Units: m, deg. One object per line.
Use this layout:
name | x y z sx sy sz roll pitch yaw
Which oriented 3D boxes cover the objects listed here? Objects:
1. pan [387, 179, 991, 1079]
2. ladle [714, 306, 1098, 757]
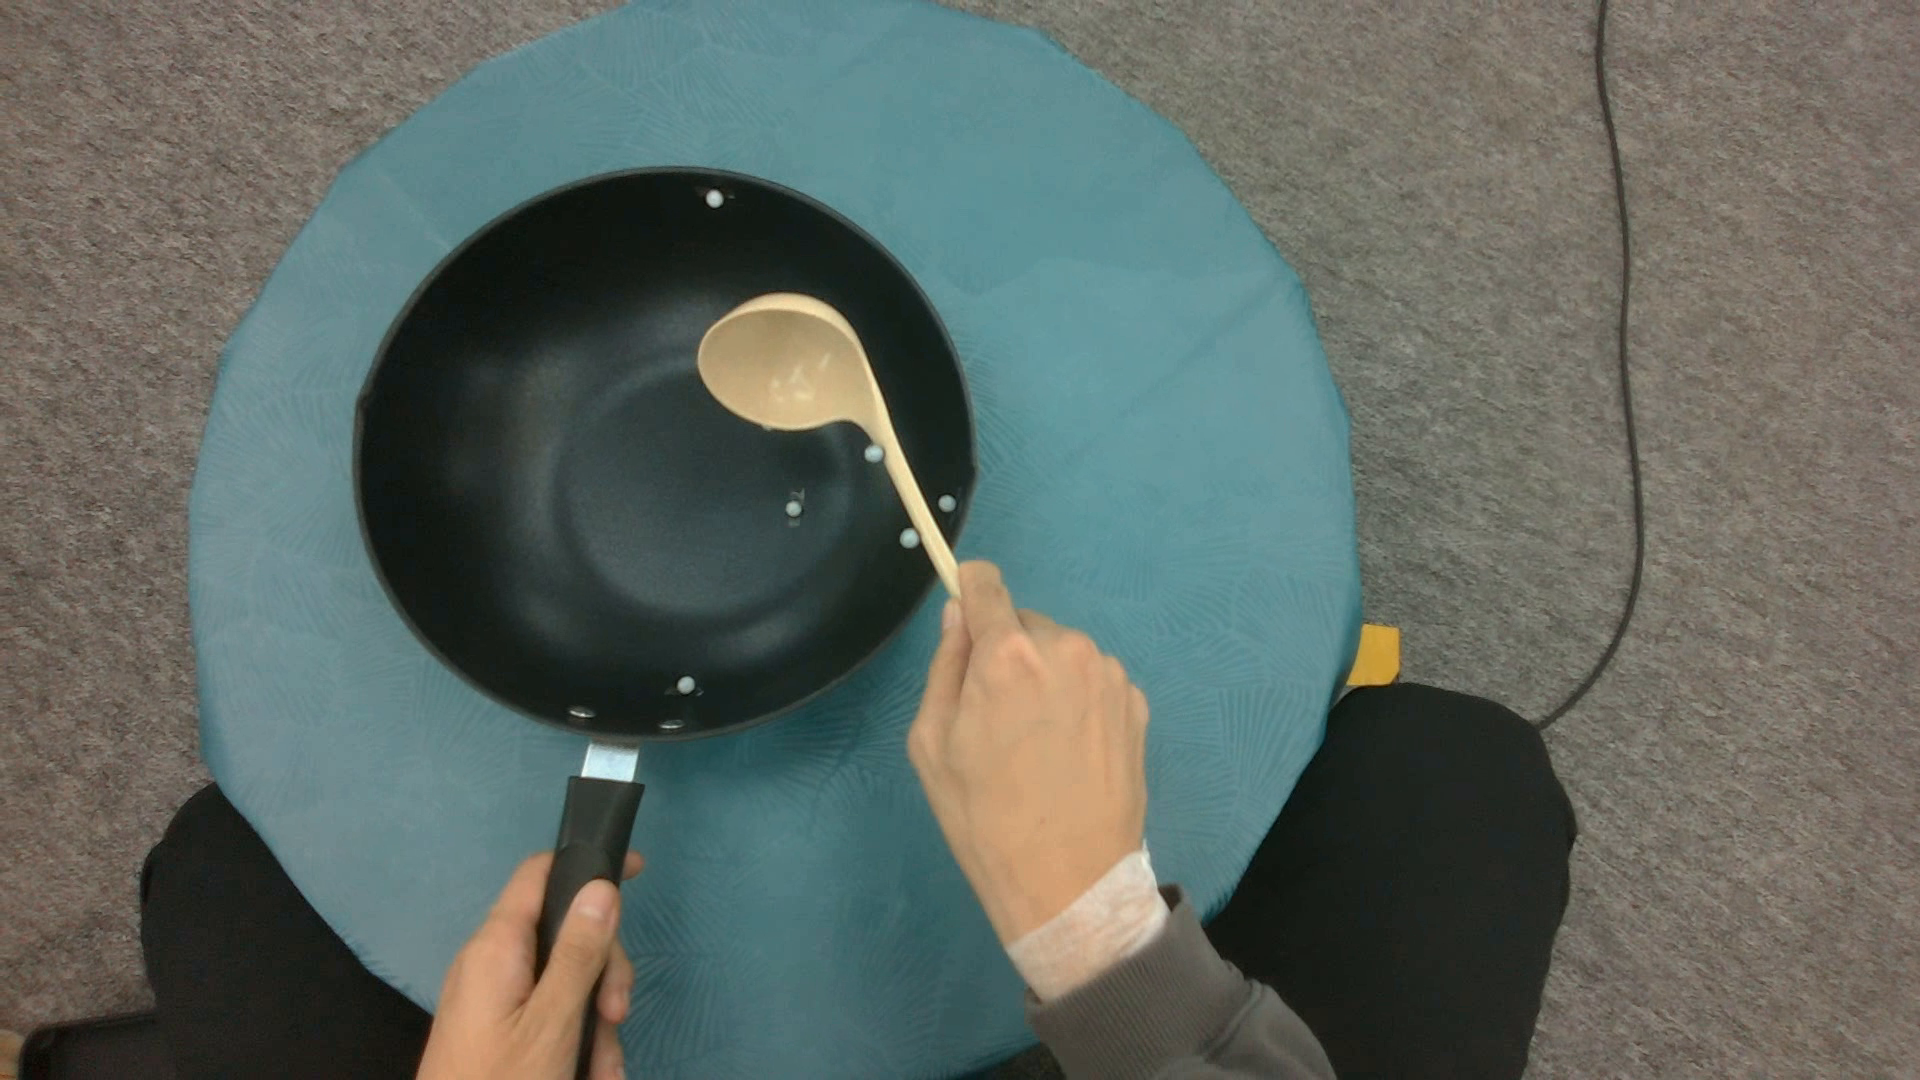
pan | -0.141 0.054 0.662 0.288 0.086 0.464 8 76 1
ladle | -0.032 -0.005 0.588 0.073 0.072 0.255 -1 46 -37
